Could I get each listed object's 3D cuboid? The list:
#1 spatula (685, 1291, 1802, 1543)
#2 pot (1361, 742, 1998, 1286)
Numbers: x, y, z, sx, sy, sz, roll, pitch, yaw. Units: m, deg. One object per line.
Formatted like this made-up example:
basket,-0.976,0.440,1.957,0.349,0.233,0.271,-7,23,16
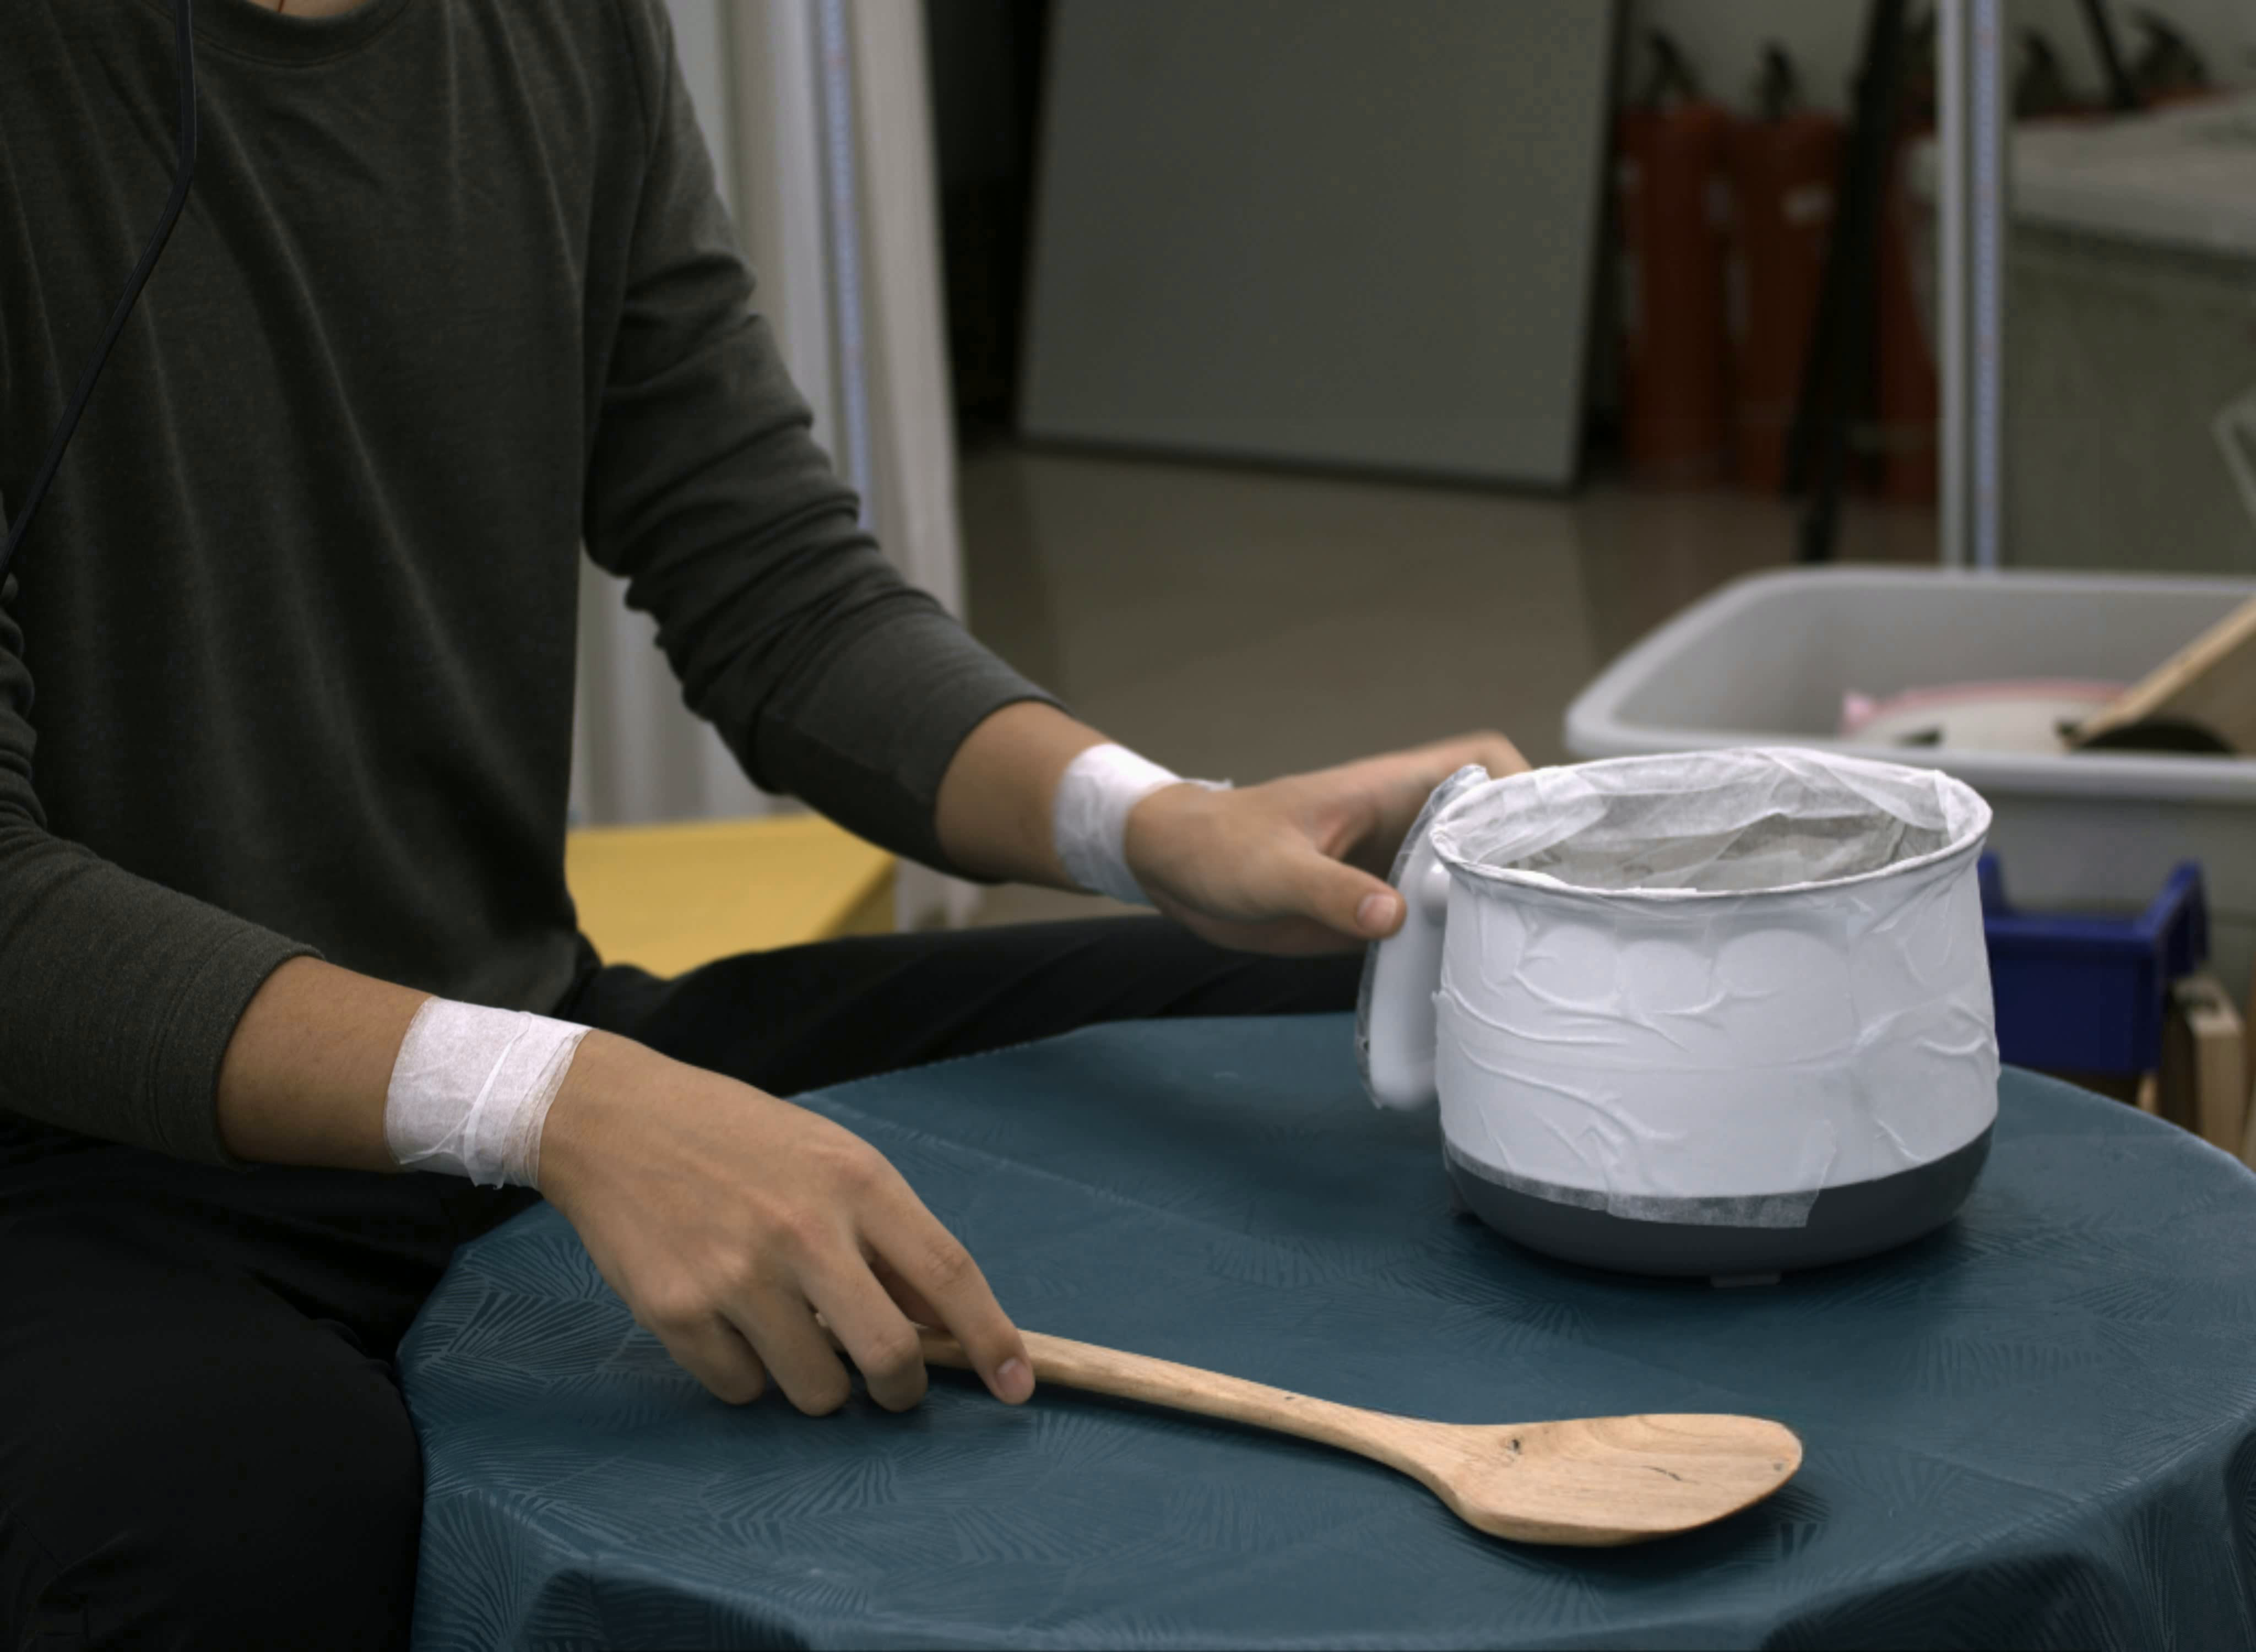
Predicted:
spatula,0.016,0.165,1.553,0.393,0.018,0.094,7,16,38
pot,0.165,0.054,1.710,0.236,0.138,0.175,9,18,44
